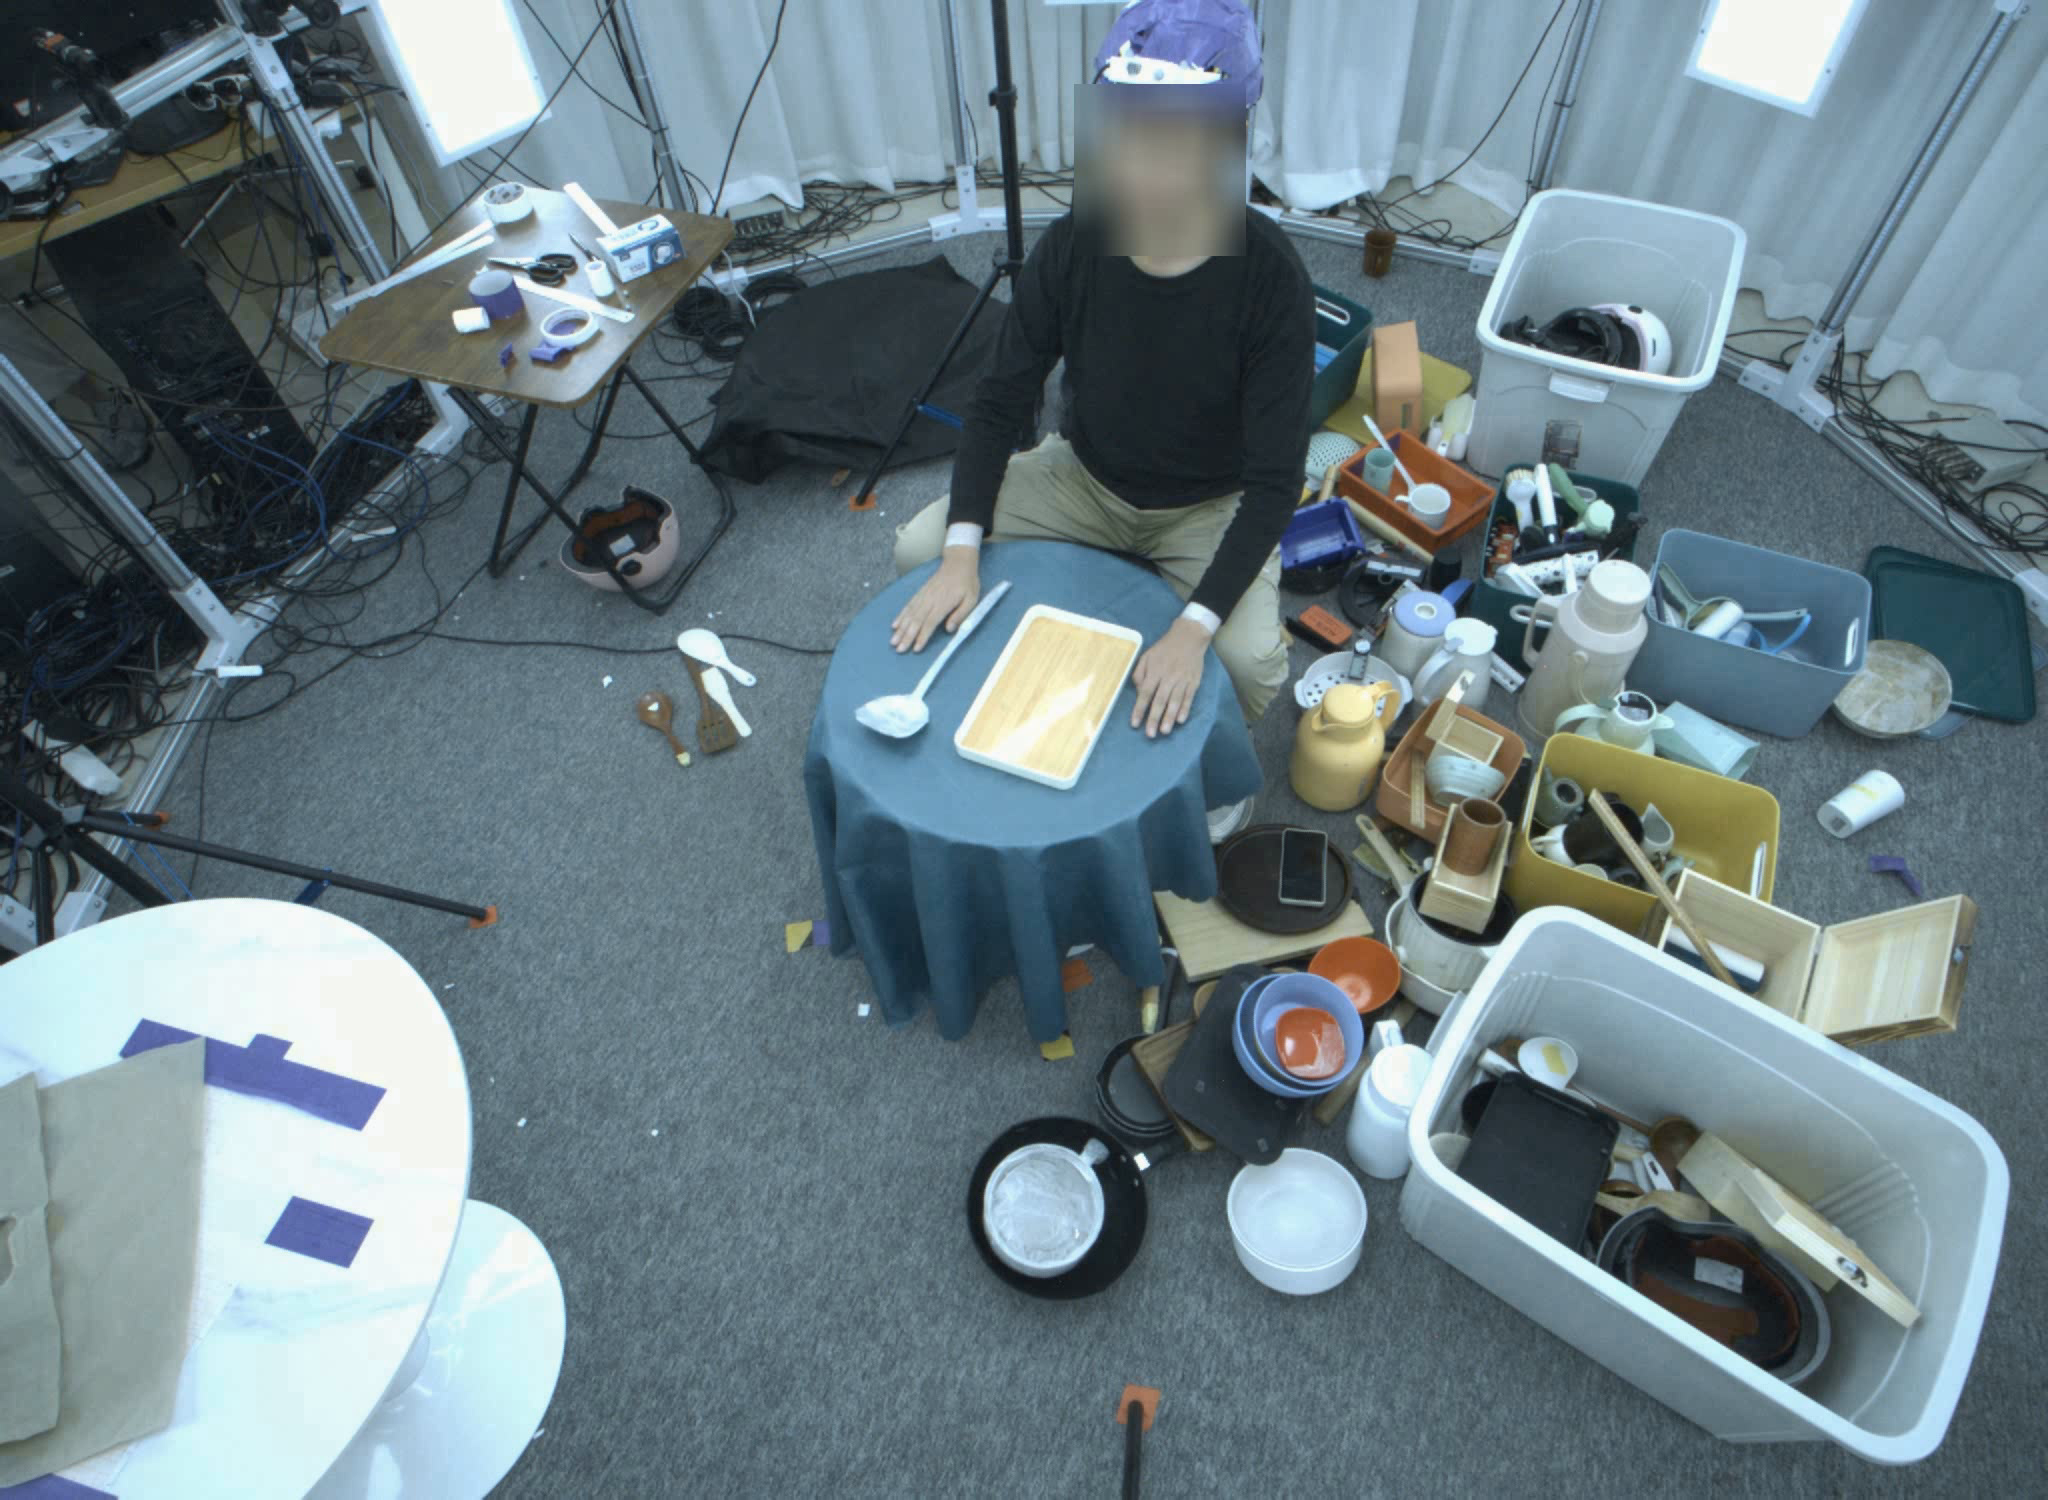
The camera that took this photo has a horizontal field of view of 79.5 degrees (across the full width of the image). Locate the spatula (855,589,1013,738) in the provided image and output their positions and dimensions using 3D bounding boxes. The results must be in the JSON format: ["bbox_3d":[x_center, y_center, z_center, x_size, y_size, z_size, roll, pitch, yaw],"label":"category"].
[{"bbox_3d":[-0.121,-0.146,1.871,0.097,0.045,0.366,24,59,19],"label":"spatula"}]

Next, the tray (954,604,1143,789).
[{"bbox_3d":[0.041,-0.086,1.830,0.189,0.028,0.300,19,58,15],"label":"tray"}]
